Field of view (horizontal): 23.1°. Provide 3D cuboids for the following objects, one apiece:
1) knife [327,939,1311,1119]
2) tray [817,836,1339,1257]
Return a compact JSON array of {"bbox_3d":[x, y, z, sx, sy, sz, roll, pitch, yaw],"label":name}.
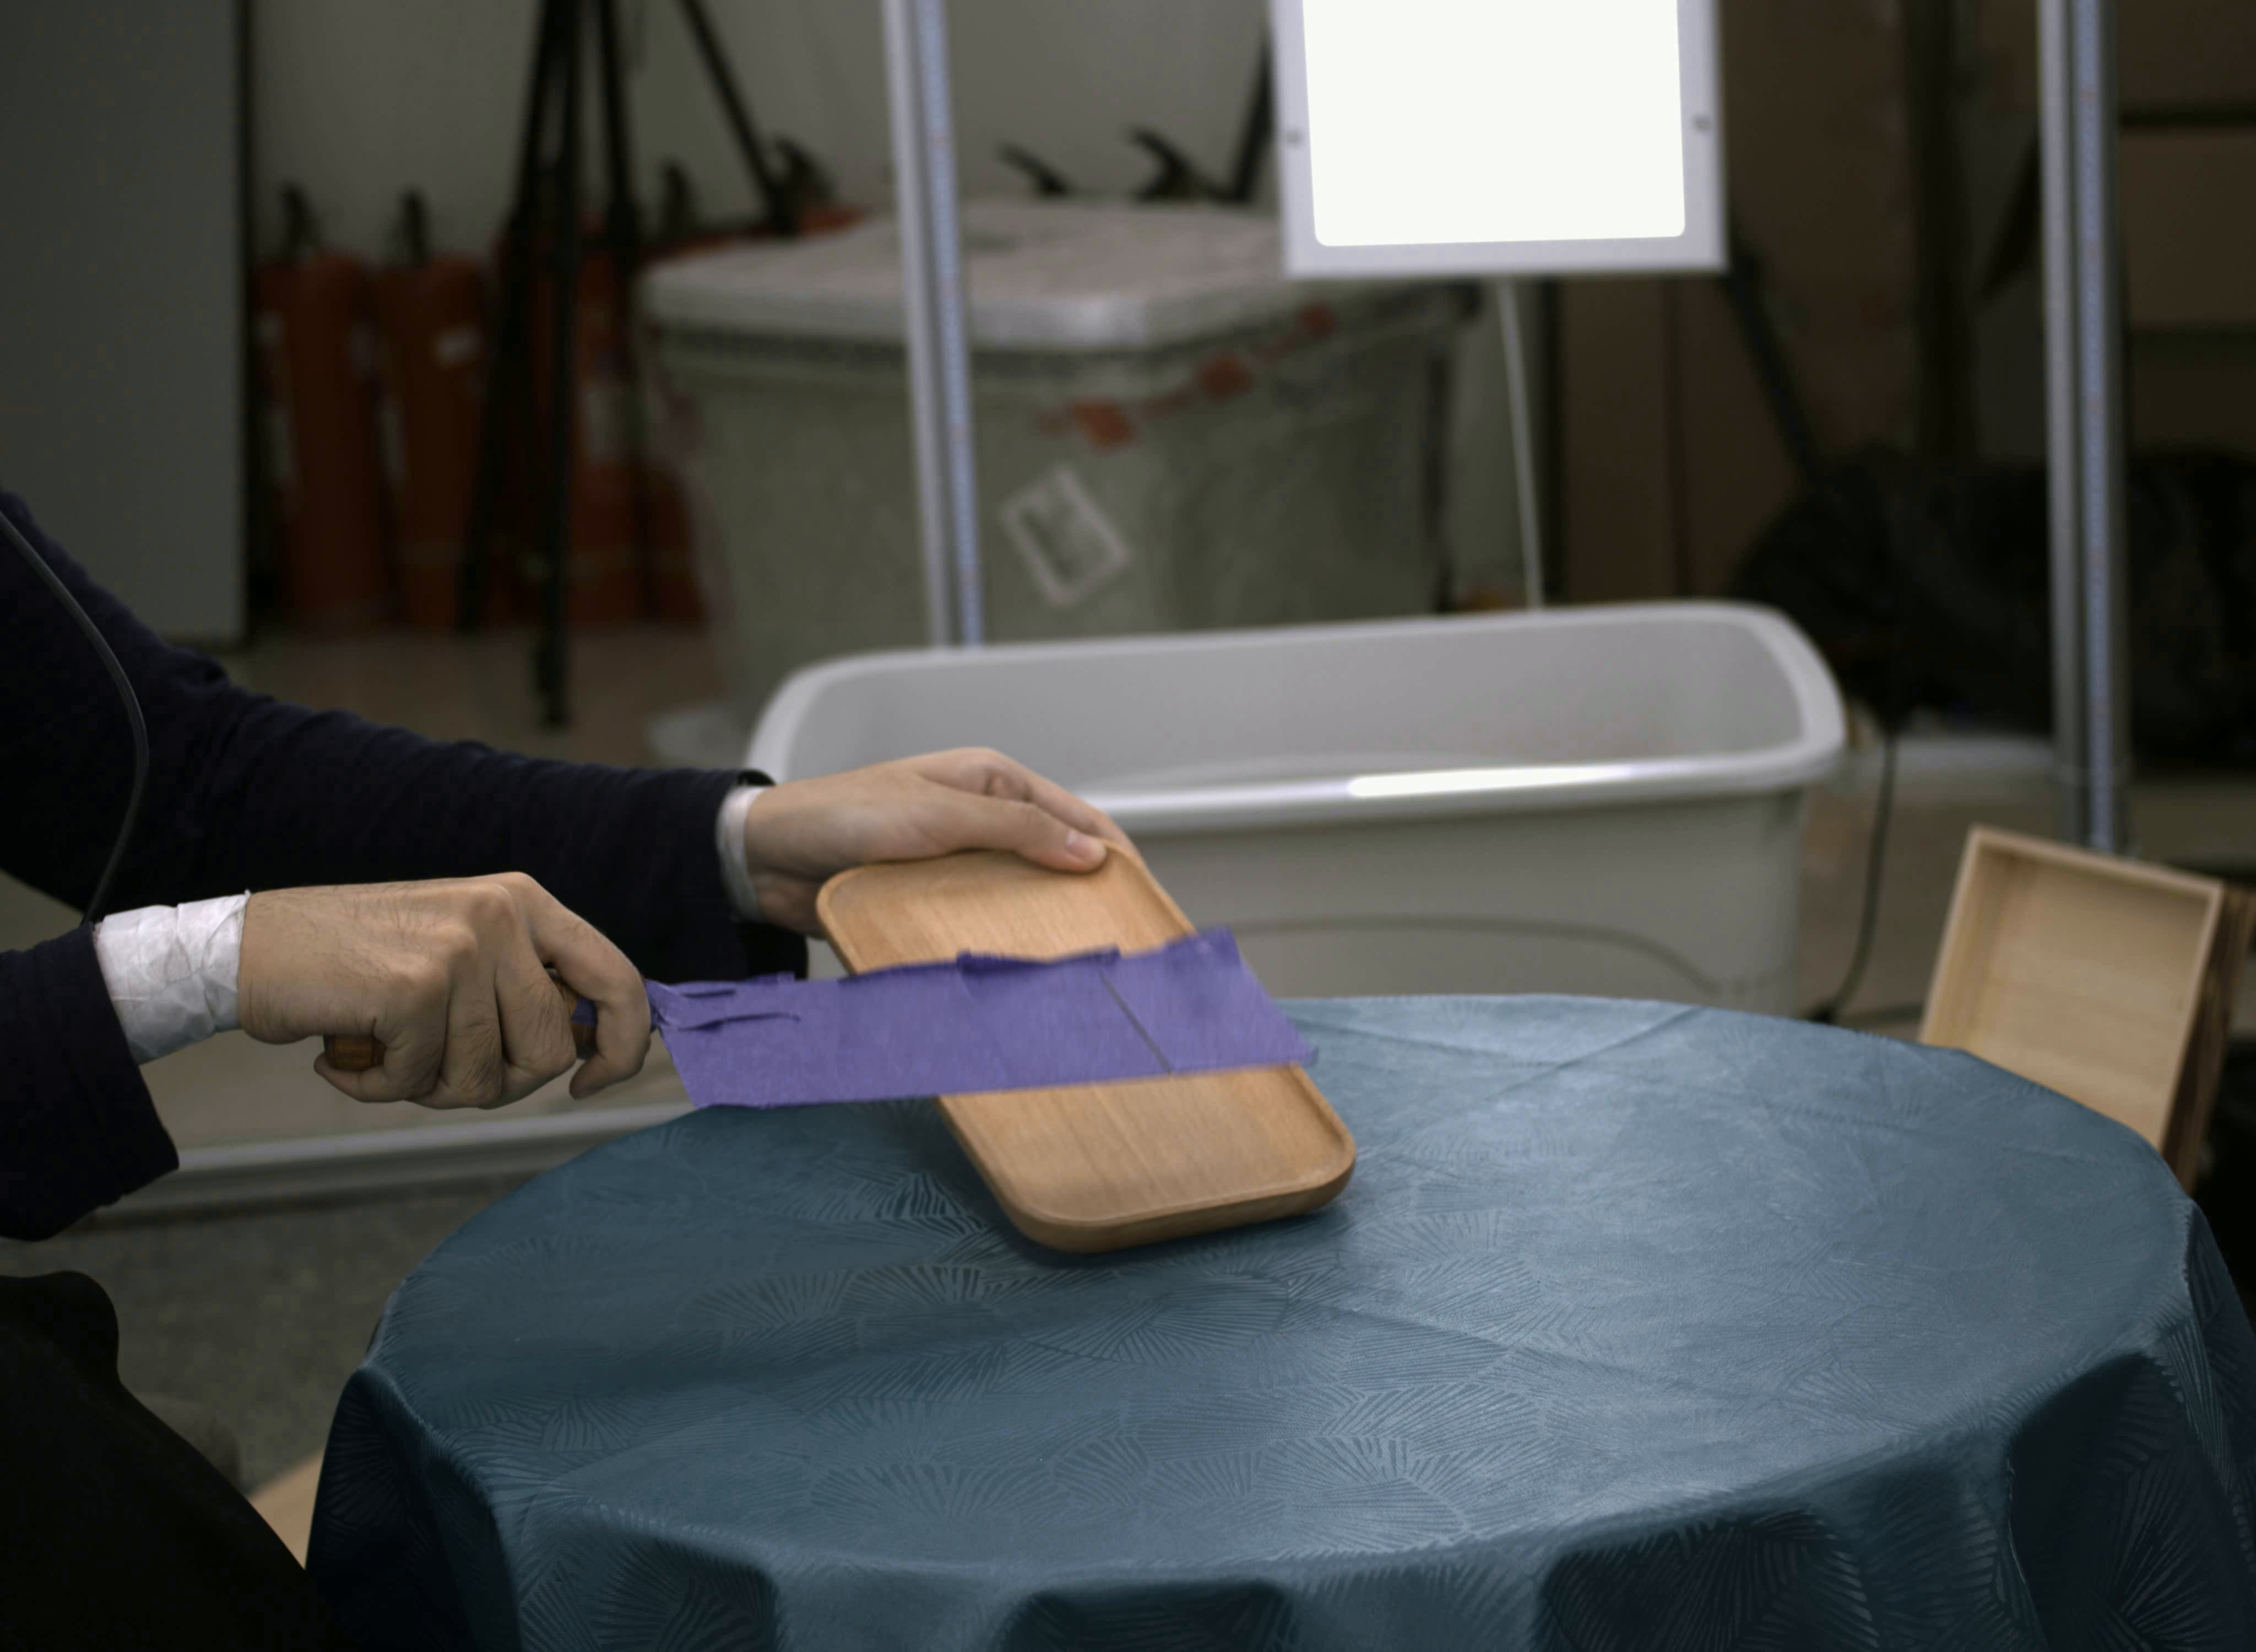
[{"bbox_3d":[-0.098,0.067,1.790,0.311,0.032,0.104,-5,23,-12],"label":"knife"},{"bbox_3d":[-0.020,0.075,1.942,0.129,0.023,0.253,-11,33,-14],"label":"tray"}]
